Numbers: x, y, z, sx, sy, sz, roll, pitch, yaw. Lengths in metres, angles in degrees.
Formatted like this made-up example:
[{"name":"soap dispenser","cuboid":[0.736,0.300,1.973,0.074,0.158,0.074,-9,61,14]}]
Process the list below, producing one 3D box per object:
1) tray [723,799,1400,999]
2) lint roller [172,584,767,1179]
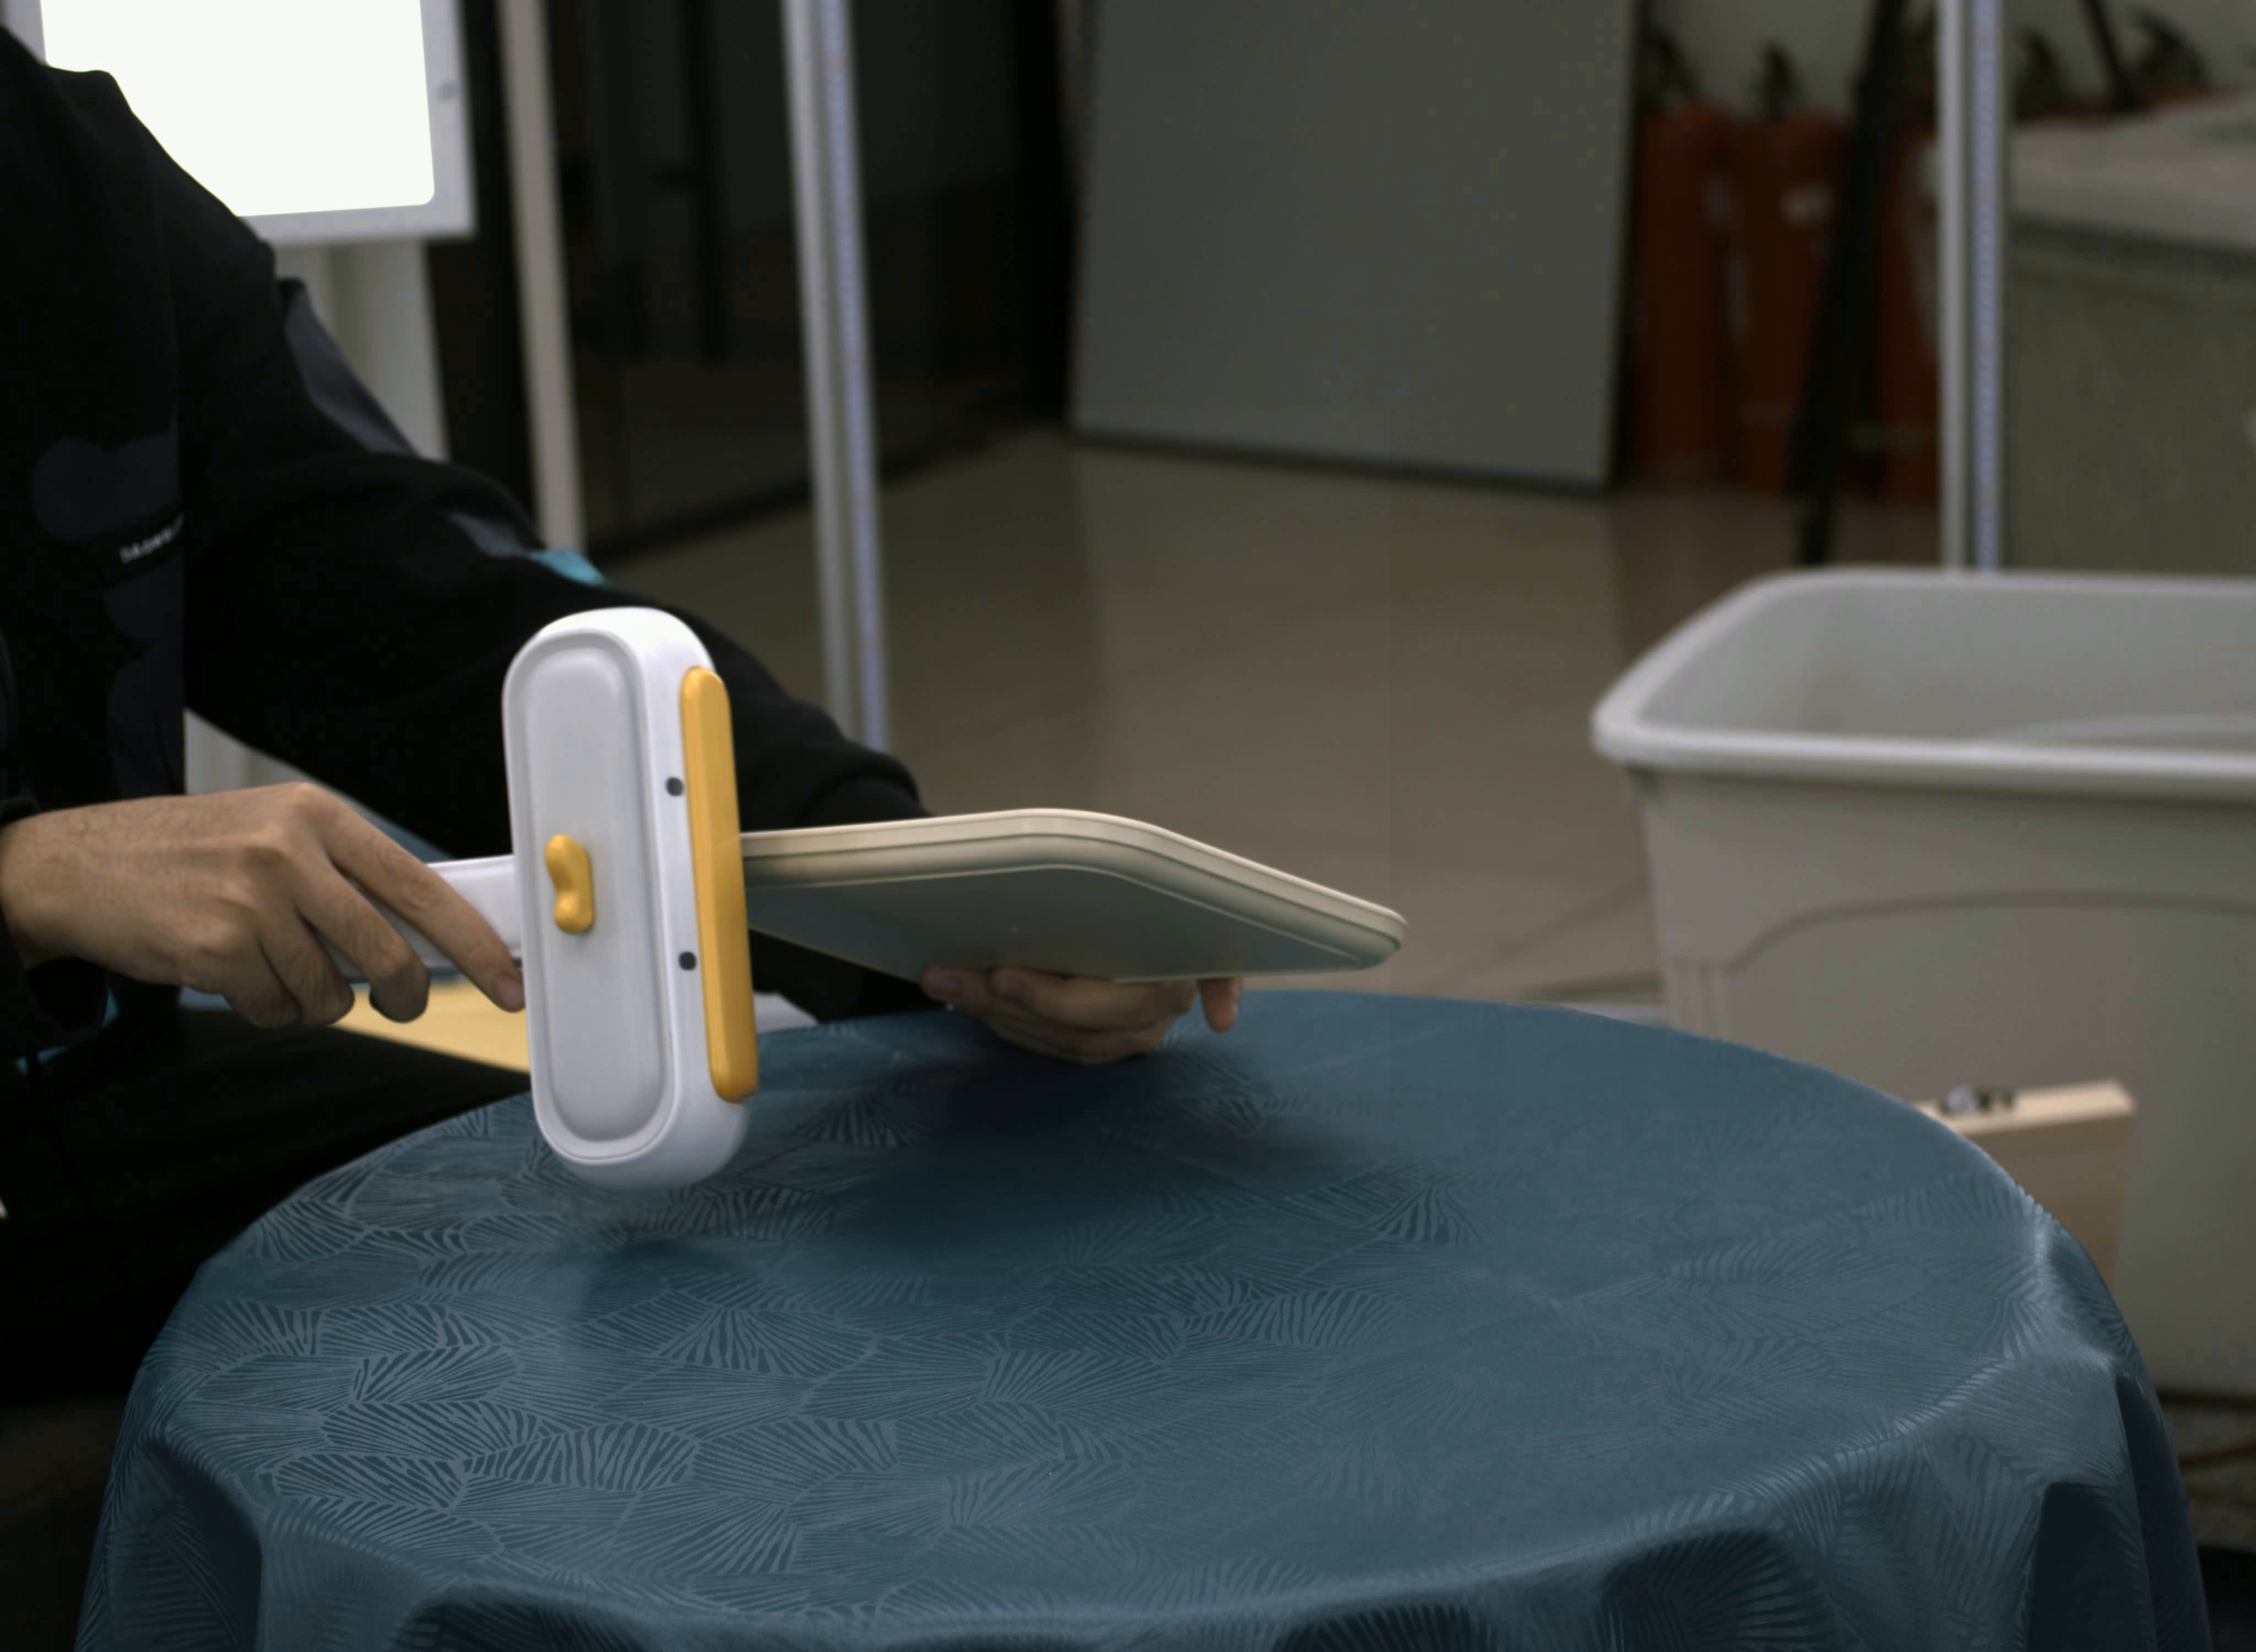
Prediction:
[{"name":"tray","cuboid":[-0.039,0.028,1.808,0.167,0.018,0.242,20,-18,-40]},{"name":"lint roller","cuboid":[-0.219,0.028,1.779,0.192,0.195,0.073,-11,-6,18]}]
